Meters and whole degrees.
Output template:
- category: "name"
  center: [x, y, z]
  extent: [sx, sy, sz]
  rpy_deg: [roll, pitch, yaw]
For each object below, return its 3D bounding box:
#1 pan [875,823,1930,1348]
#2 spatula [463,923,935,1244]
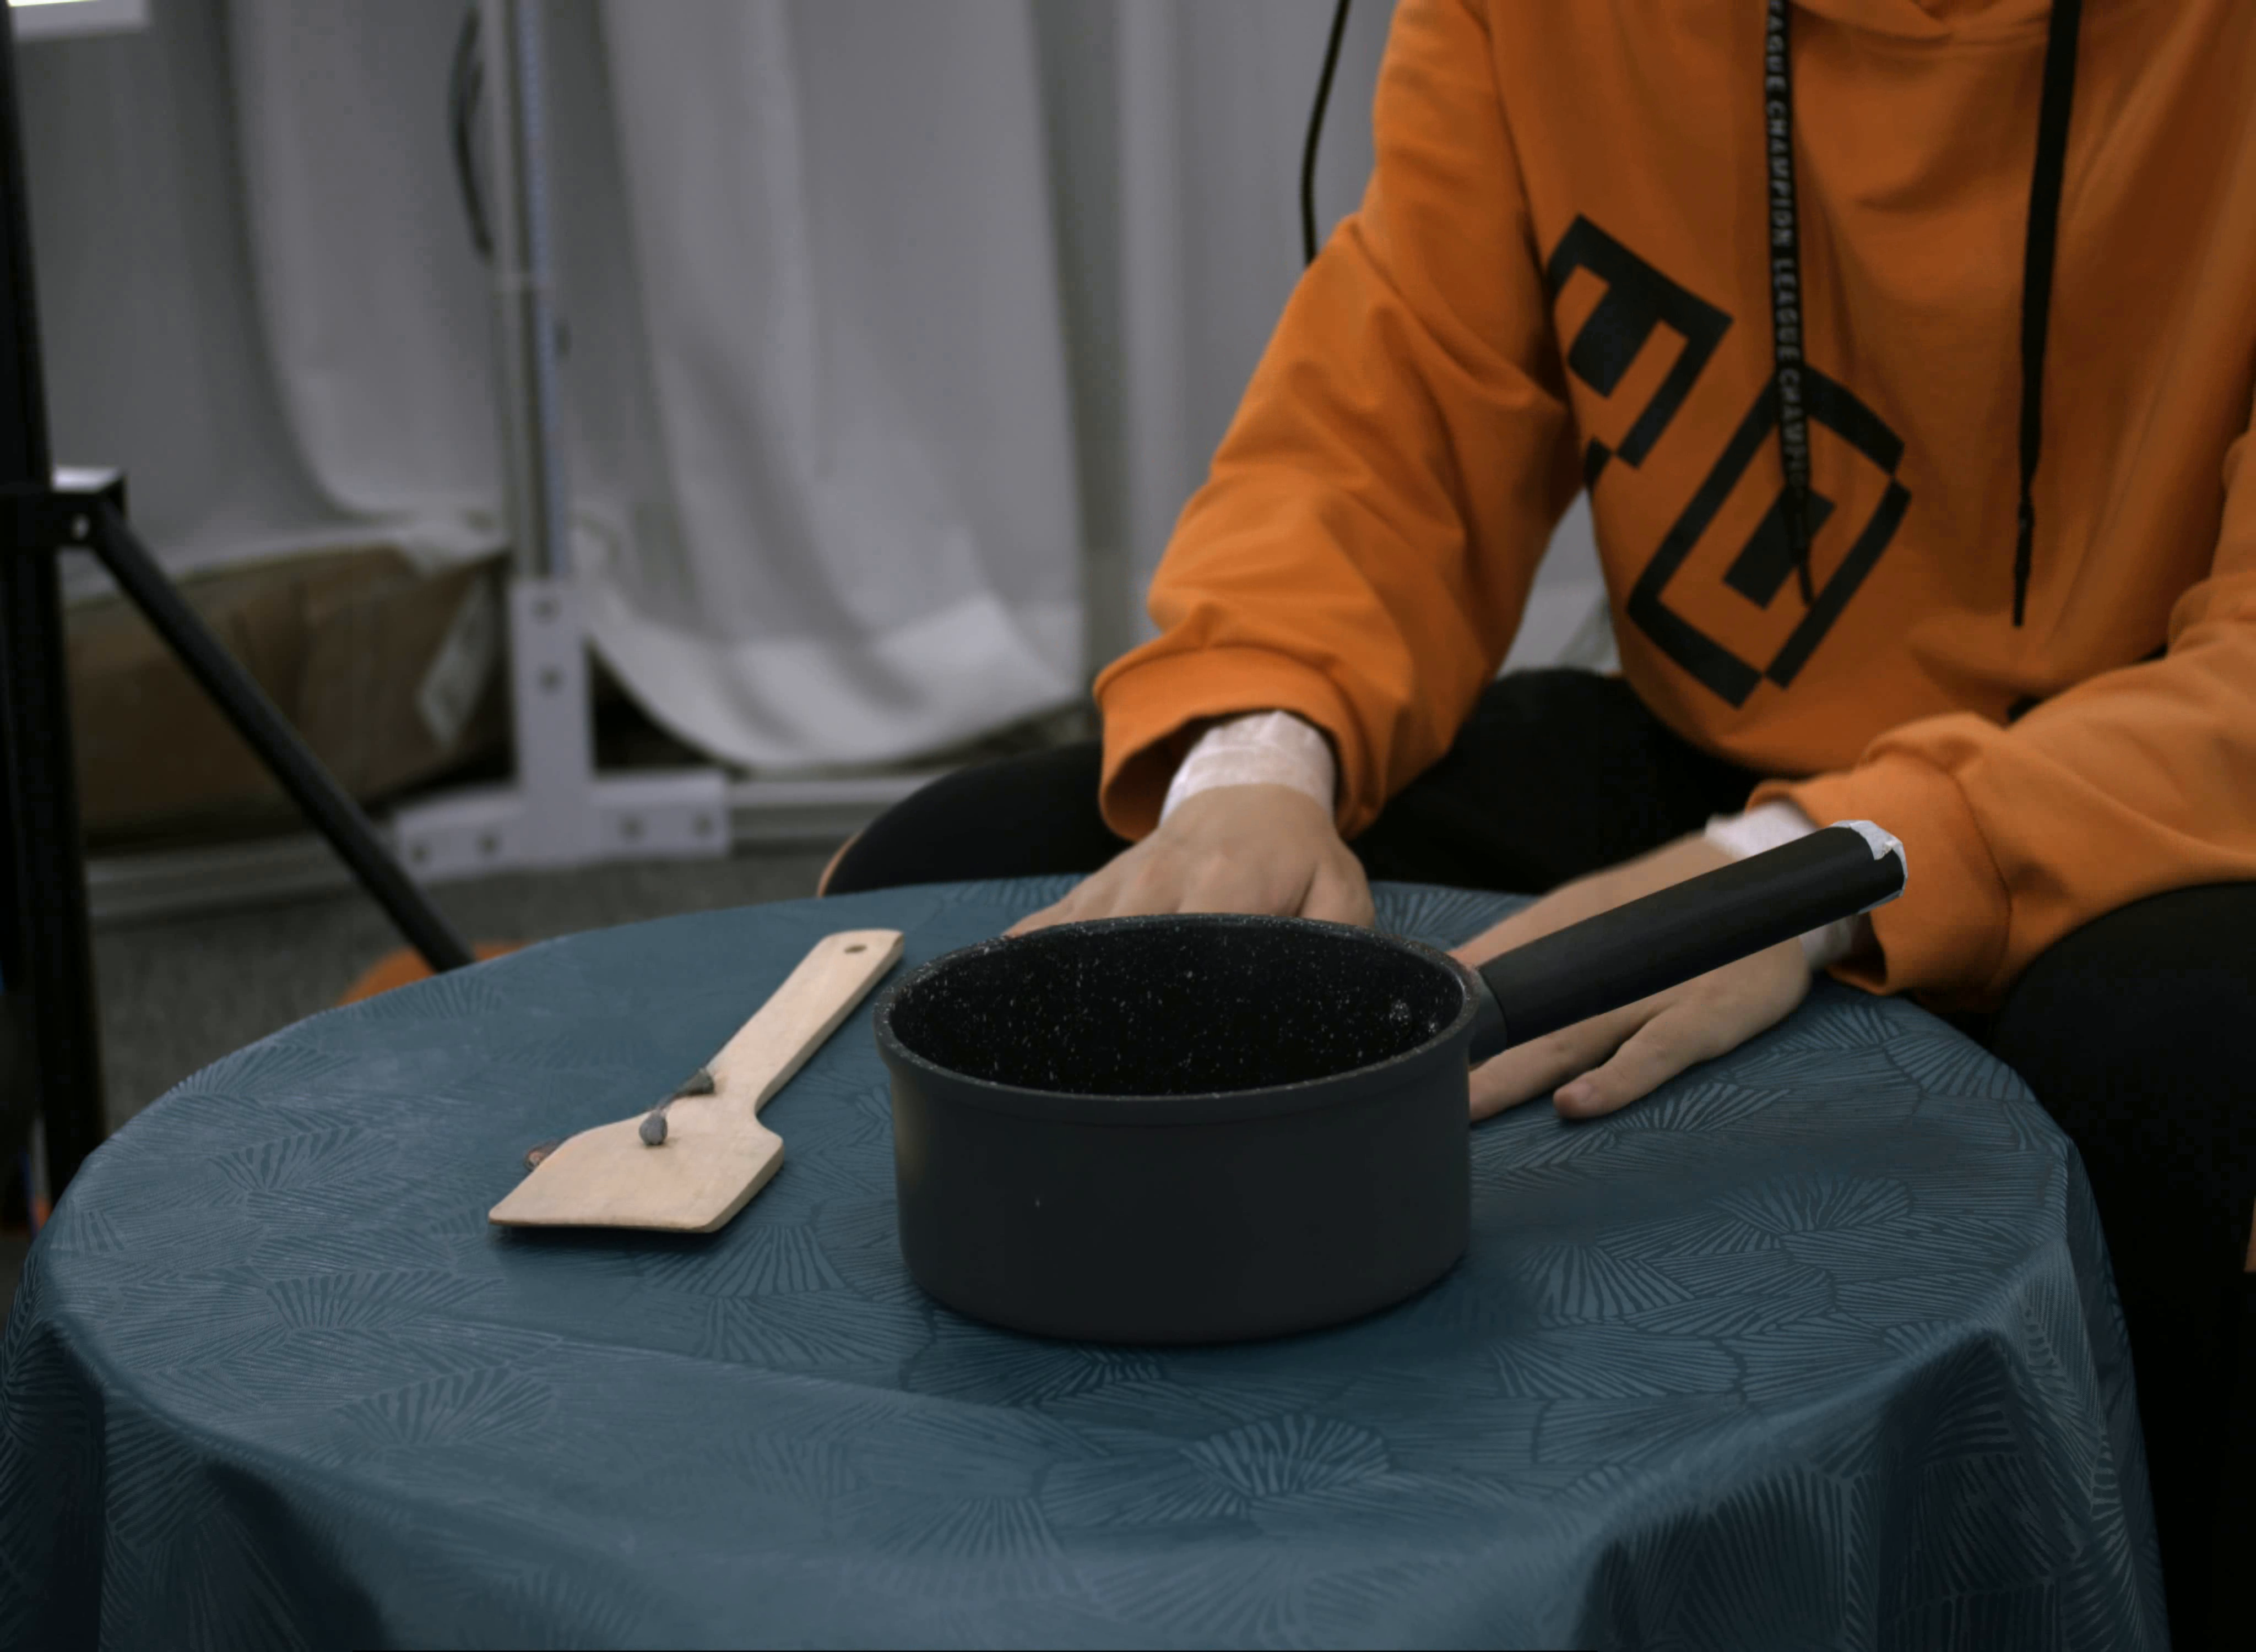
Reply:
- category: "pan"
  center: [0.086, 0.070, 1.525]
  extent: [0.322, 0.086, 0.175]
  rpy_deg: [-11, 18, -22]
- category: "spatula"
  center: [-0.121, 0.079, 1.678]
  extent: [0.073, 0.010, 0.290]
  rpy_deg: [-1, 17, 19]
